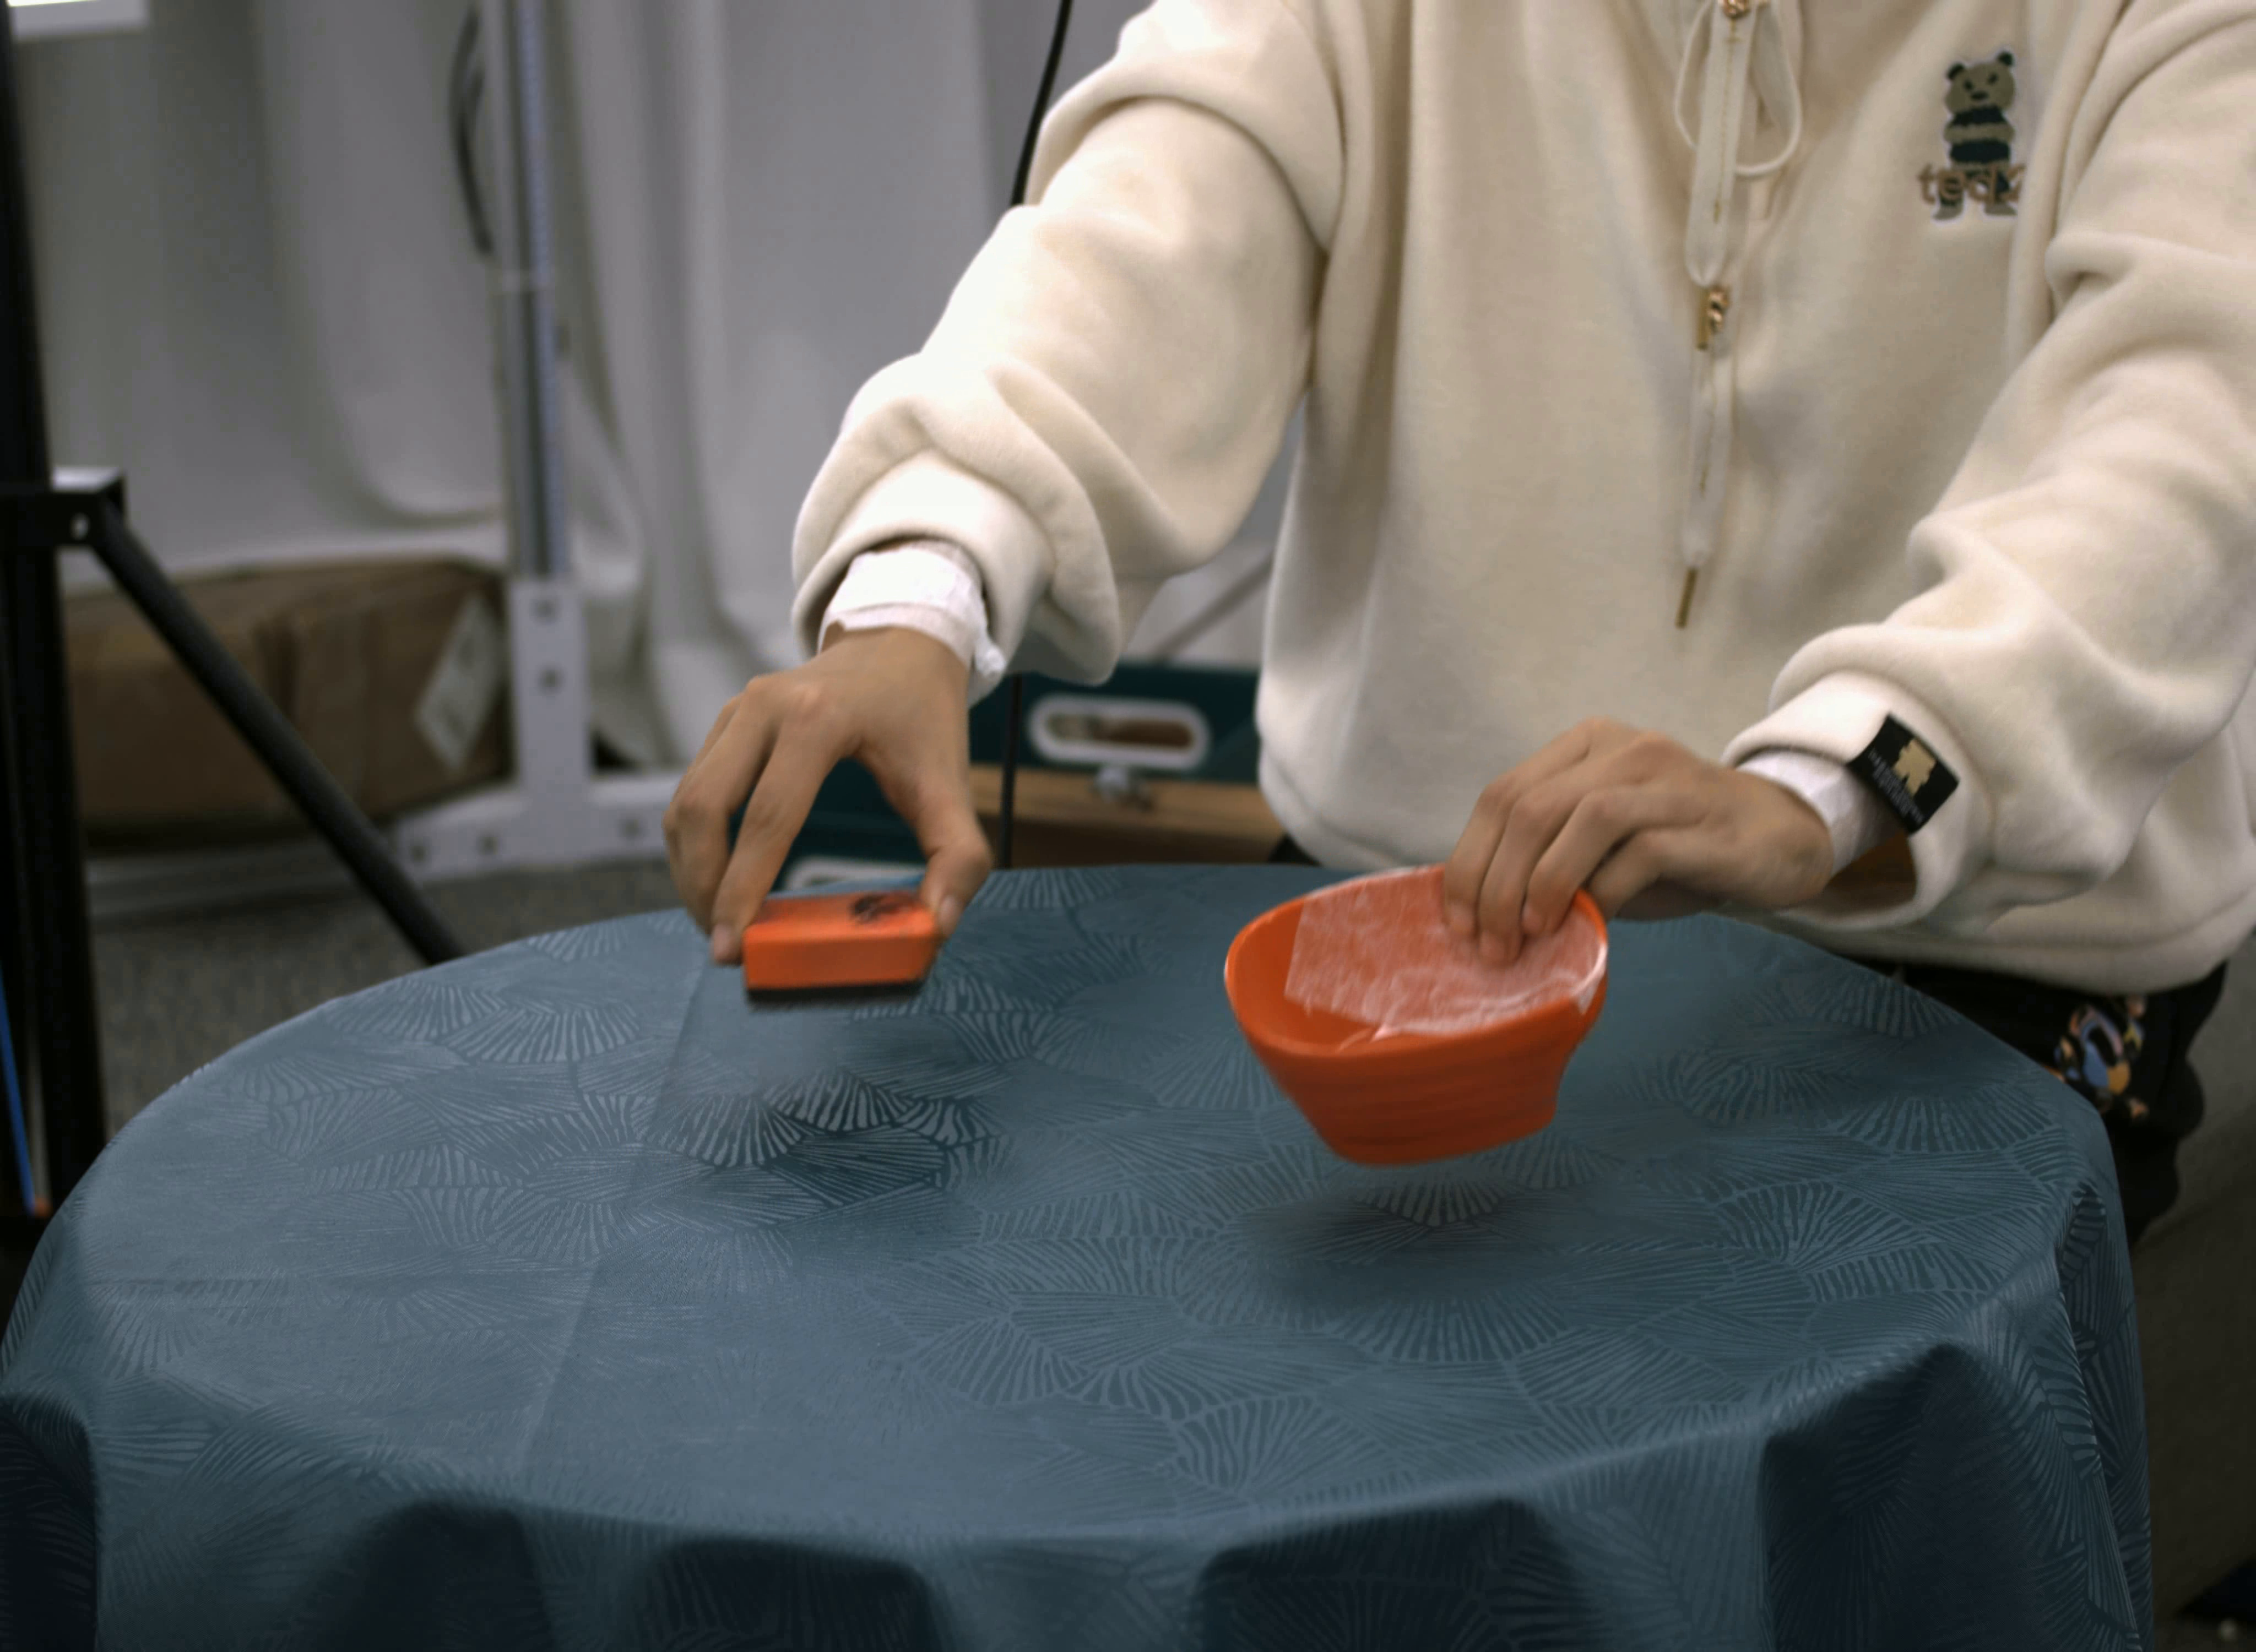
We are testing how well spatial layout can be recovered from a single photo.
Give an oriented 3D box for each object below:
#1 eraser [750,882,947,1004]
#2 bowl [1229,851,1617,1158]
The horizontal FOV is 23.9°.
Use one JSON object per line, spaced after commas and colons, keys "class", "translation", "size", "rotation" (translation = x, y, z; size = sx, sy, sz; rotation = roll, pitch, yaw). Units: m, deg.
{"class": "eraser", "translation": [-0.085, 0.035, 1.614], "size": [0.058, 0.023, 0.108], "rotation": [-5, 5, -2]}
{"class": "bowl", "translation": [0.088, 0.055, 1.517], "size": [0.118, 0.051, 0.120], "rotation": [-11, 23, 3]}
